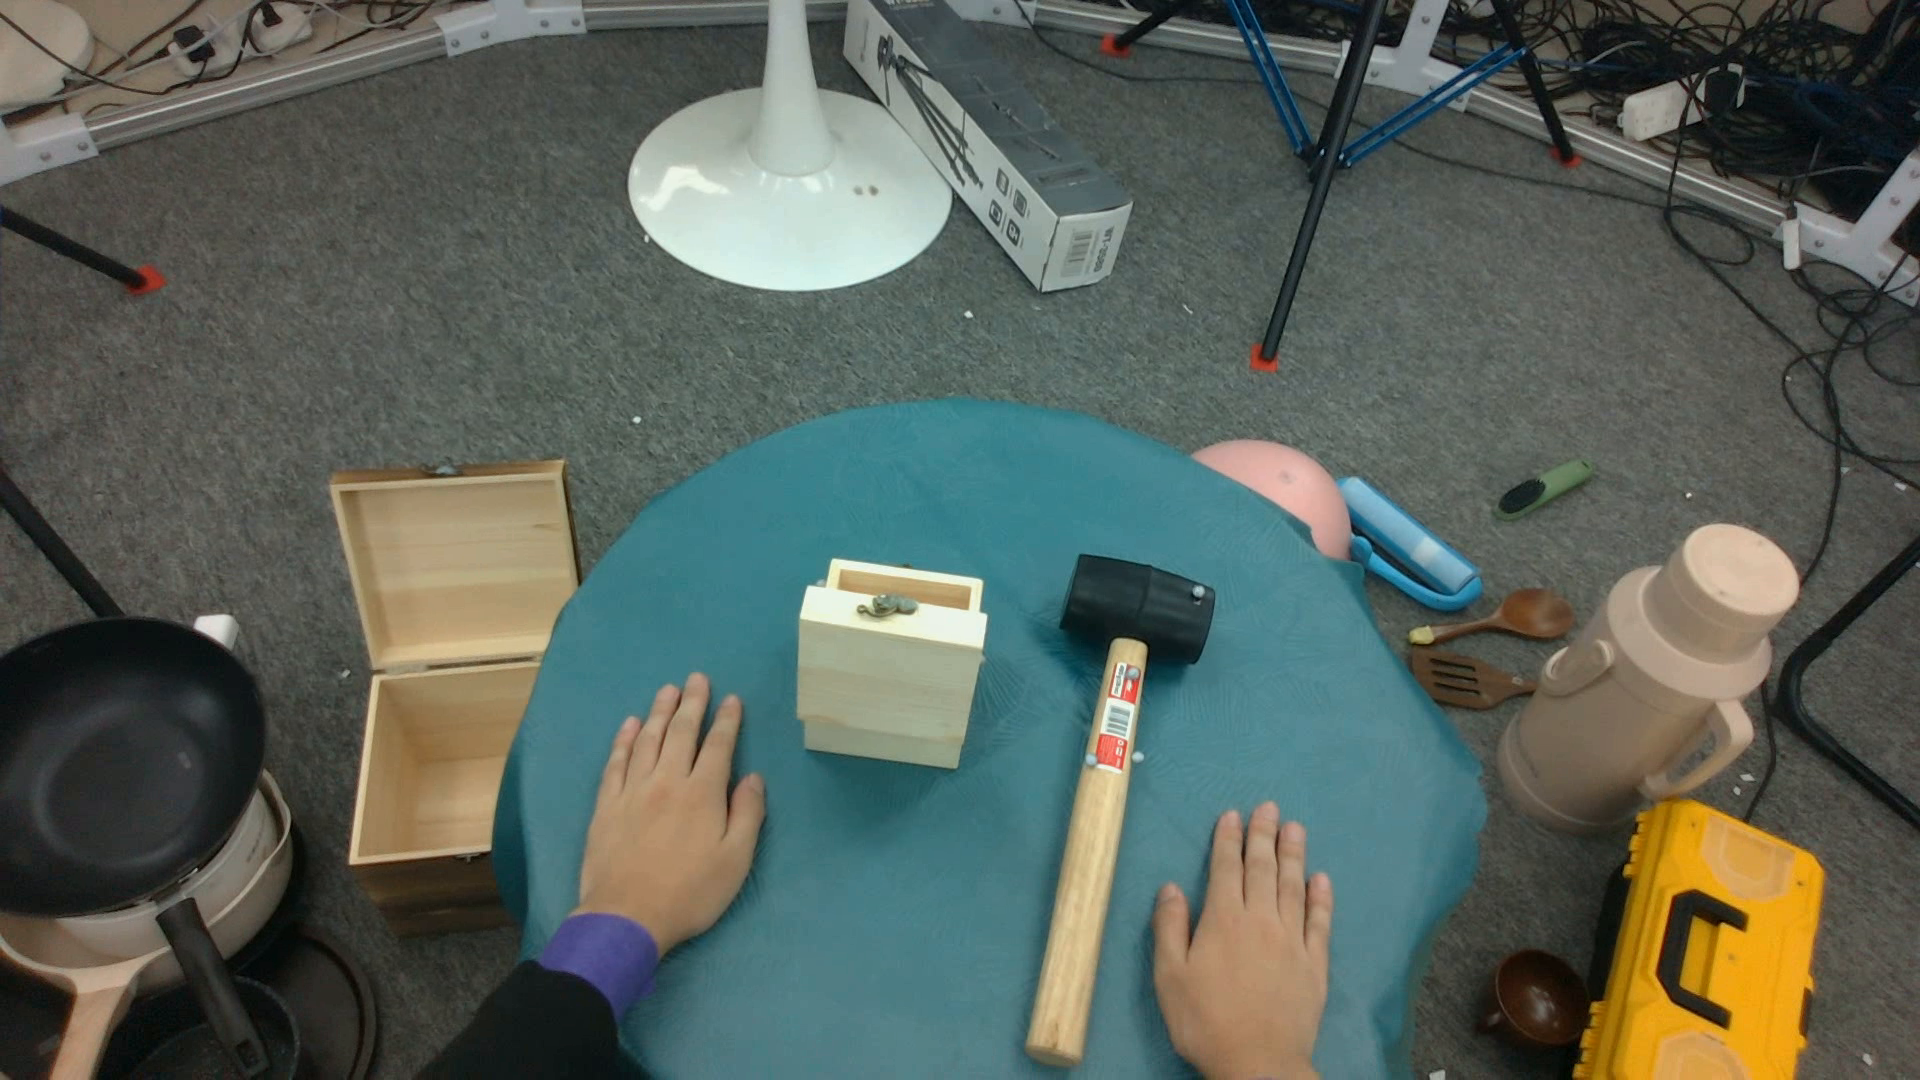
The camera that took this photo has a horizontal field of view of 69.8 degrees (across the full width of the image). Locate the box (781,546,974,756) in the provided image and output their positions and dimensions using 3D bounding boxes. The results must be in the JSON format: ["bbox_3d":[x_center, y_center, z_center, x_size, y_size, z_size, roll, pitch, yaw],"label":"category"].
[{"bbox_3d":[-0.046,0.050,0.845,0.102,0.183,0.134,7,55,0],"label":"box"}]

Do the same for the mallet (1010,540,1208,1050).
[{"bbox_3d":[0.085,0.143,0.864,0.102,0.064,0.340,13,53,5],"label":"mallet"}]
